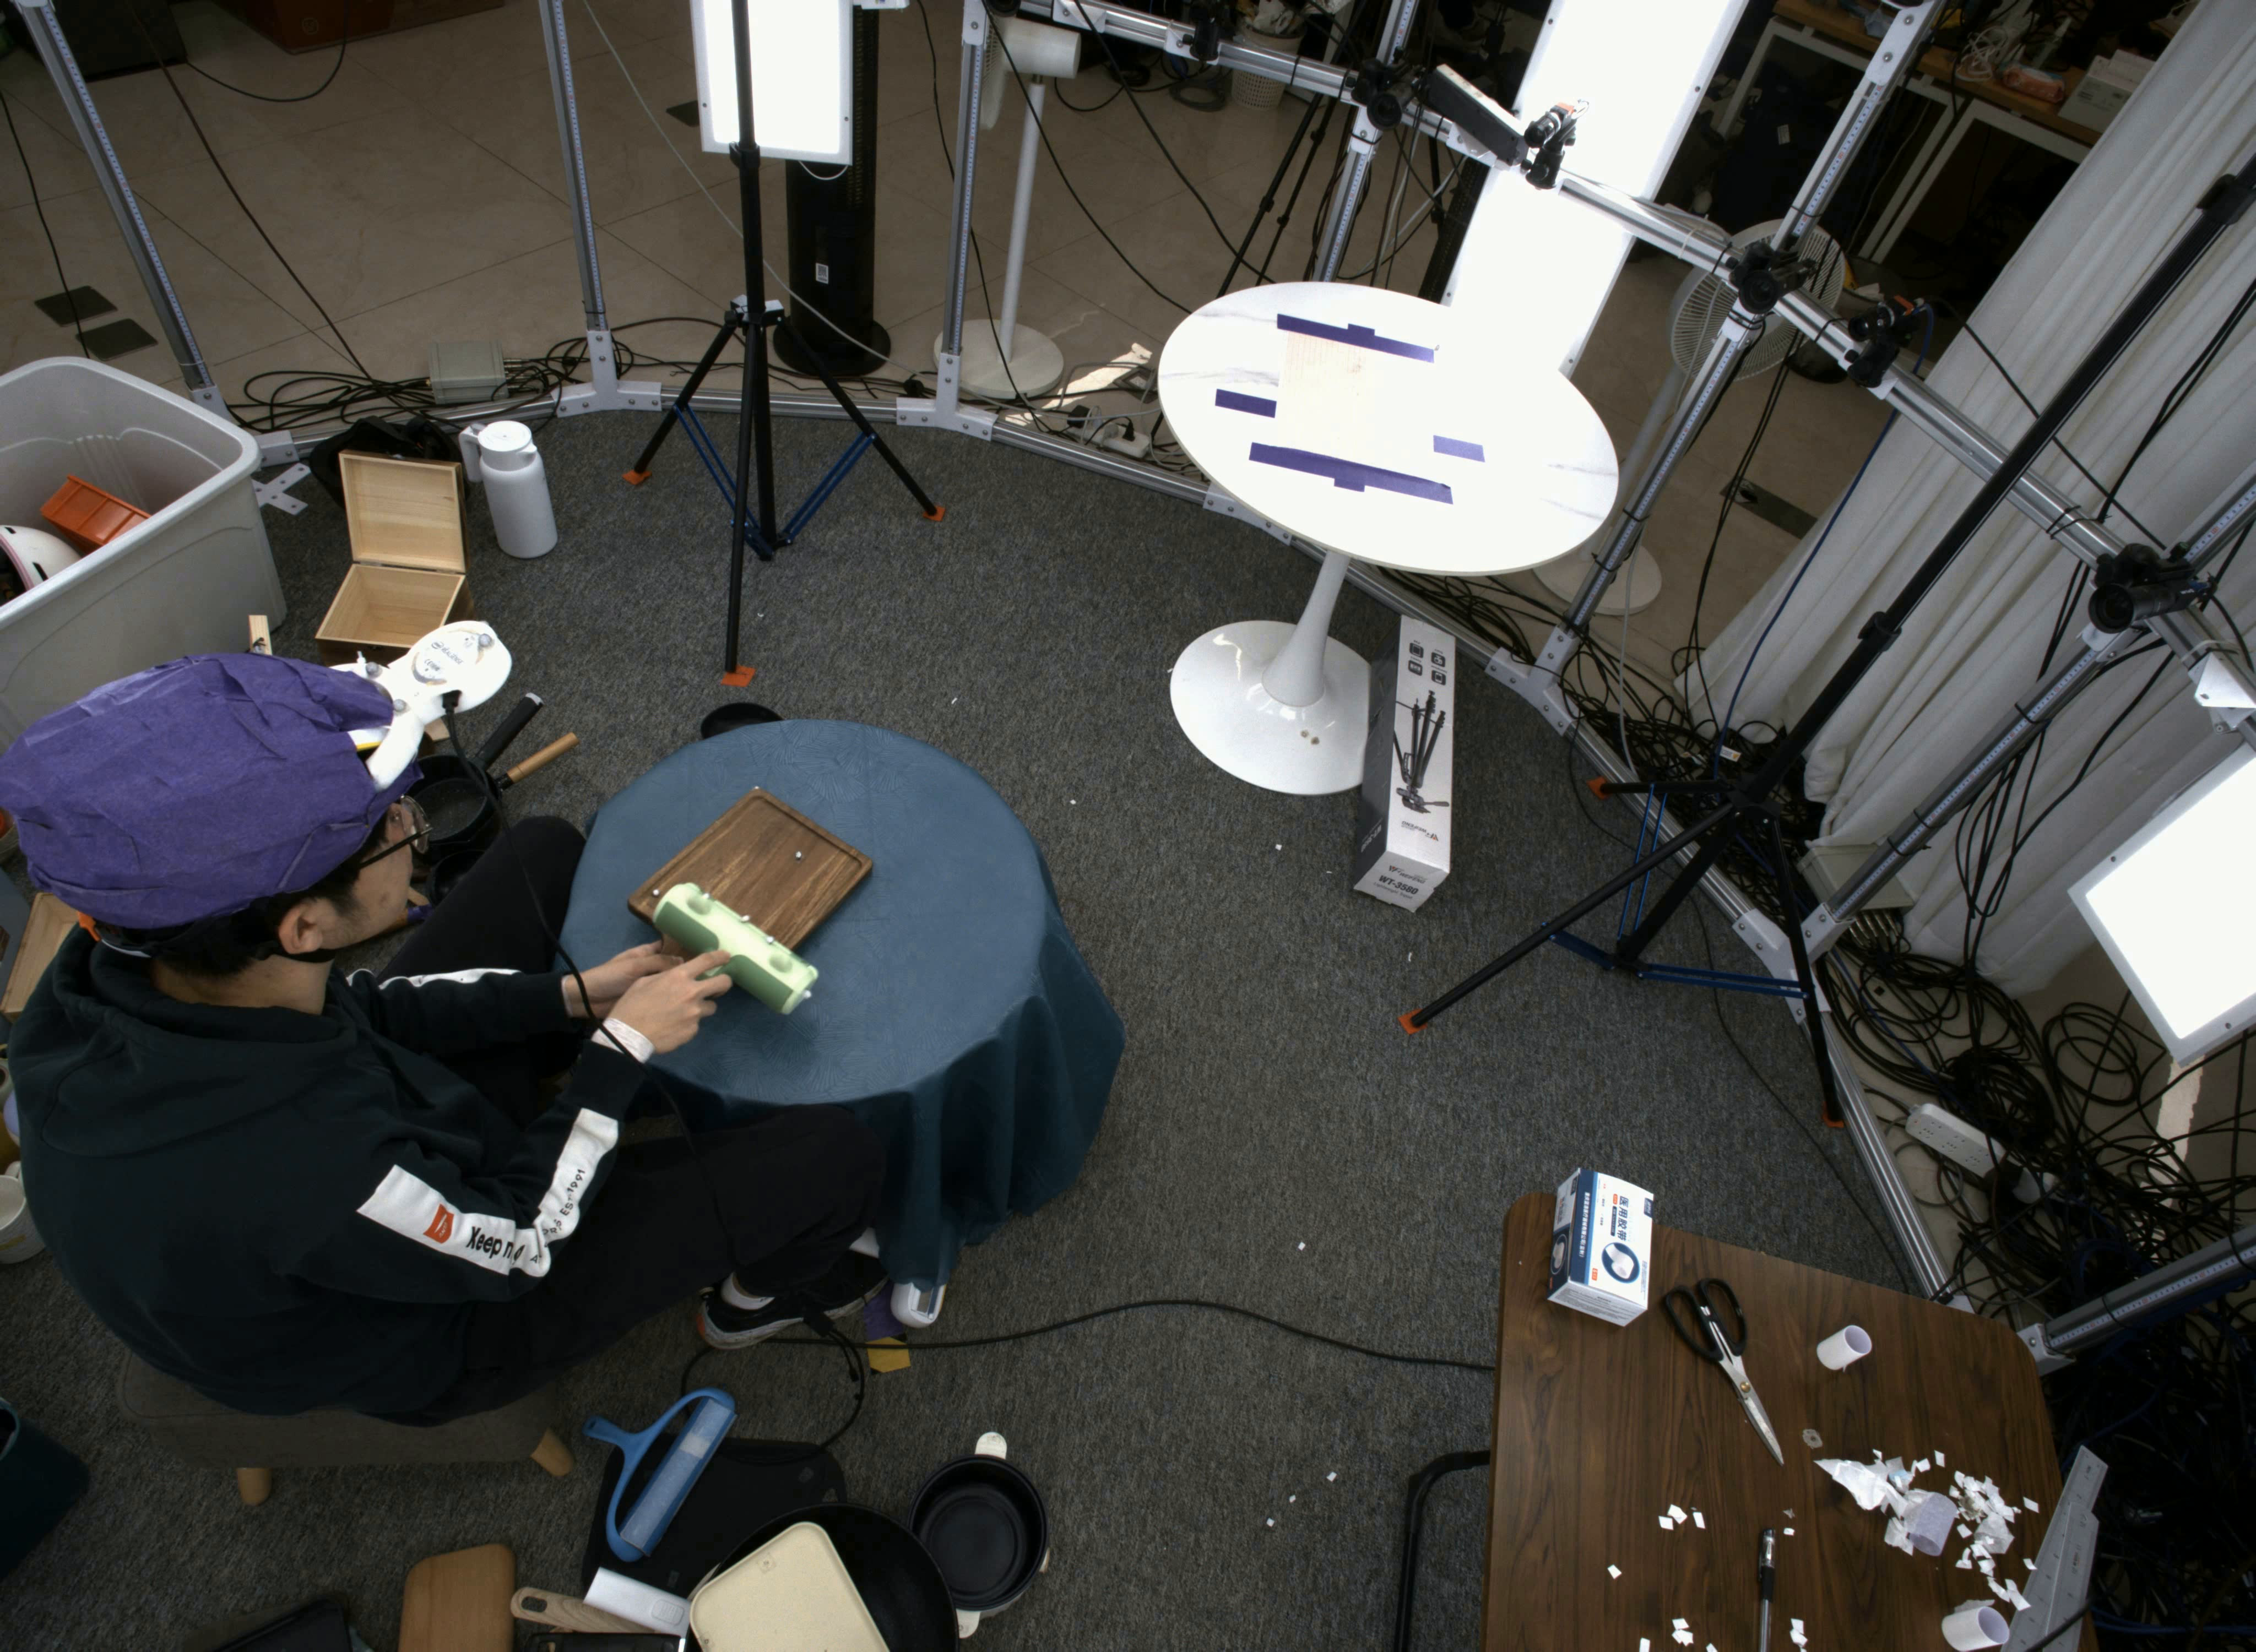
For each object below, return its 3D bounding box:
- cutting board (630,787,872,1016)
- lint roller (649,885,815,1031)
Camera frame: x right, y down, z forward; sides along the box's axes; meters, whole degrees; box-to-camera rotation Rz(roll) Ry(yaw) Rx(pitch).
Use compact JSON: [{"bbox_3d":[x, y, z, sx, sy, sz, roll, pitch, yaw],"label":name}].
[{"bbox_3d":[-0.494,0.102,1.598,0.199,0.023,0.350,33,48,5],"label":"cutting board"},{"bbox_3d":[-0.473,0.156,1.452,0.198,0.083,0.182,36,28,-1],"label":"lint roller"}]
